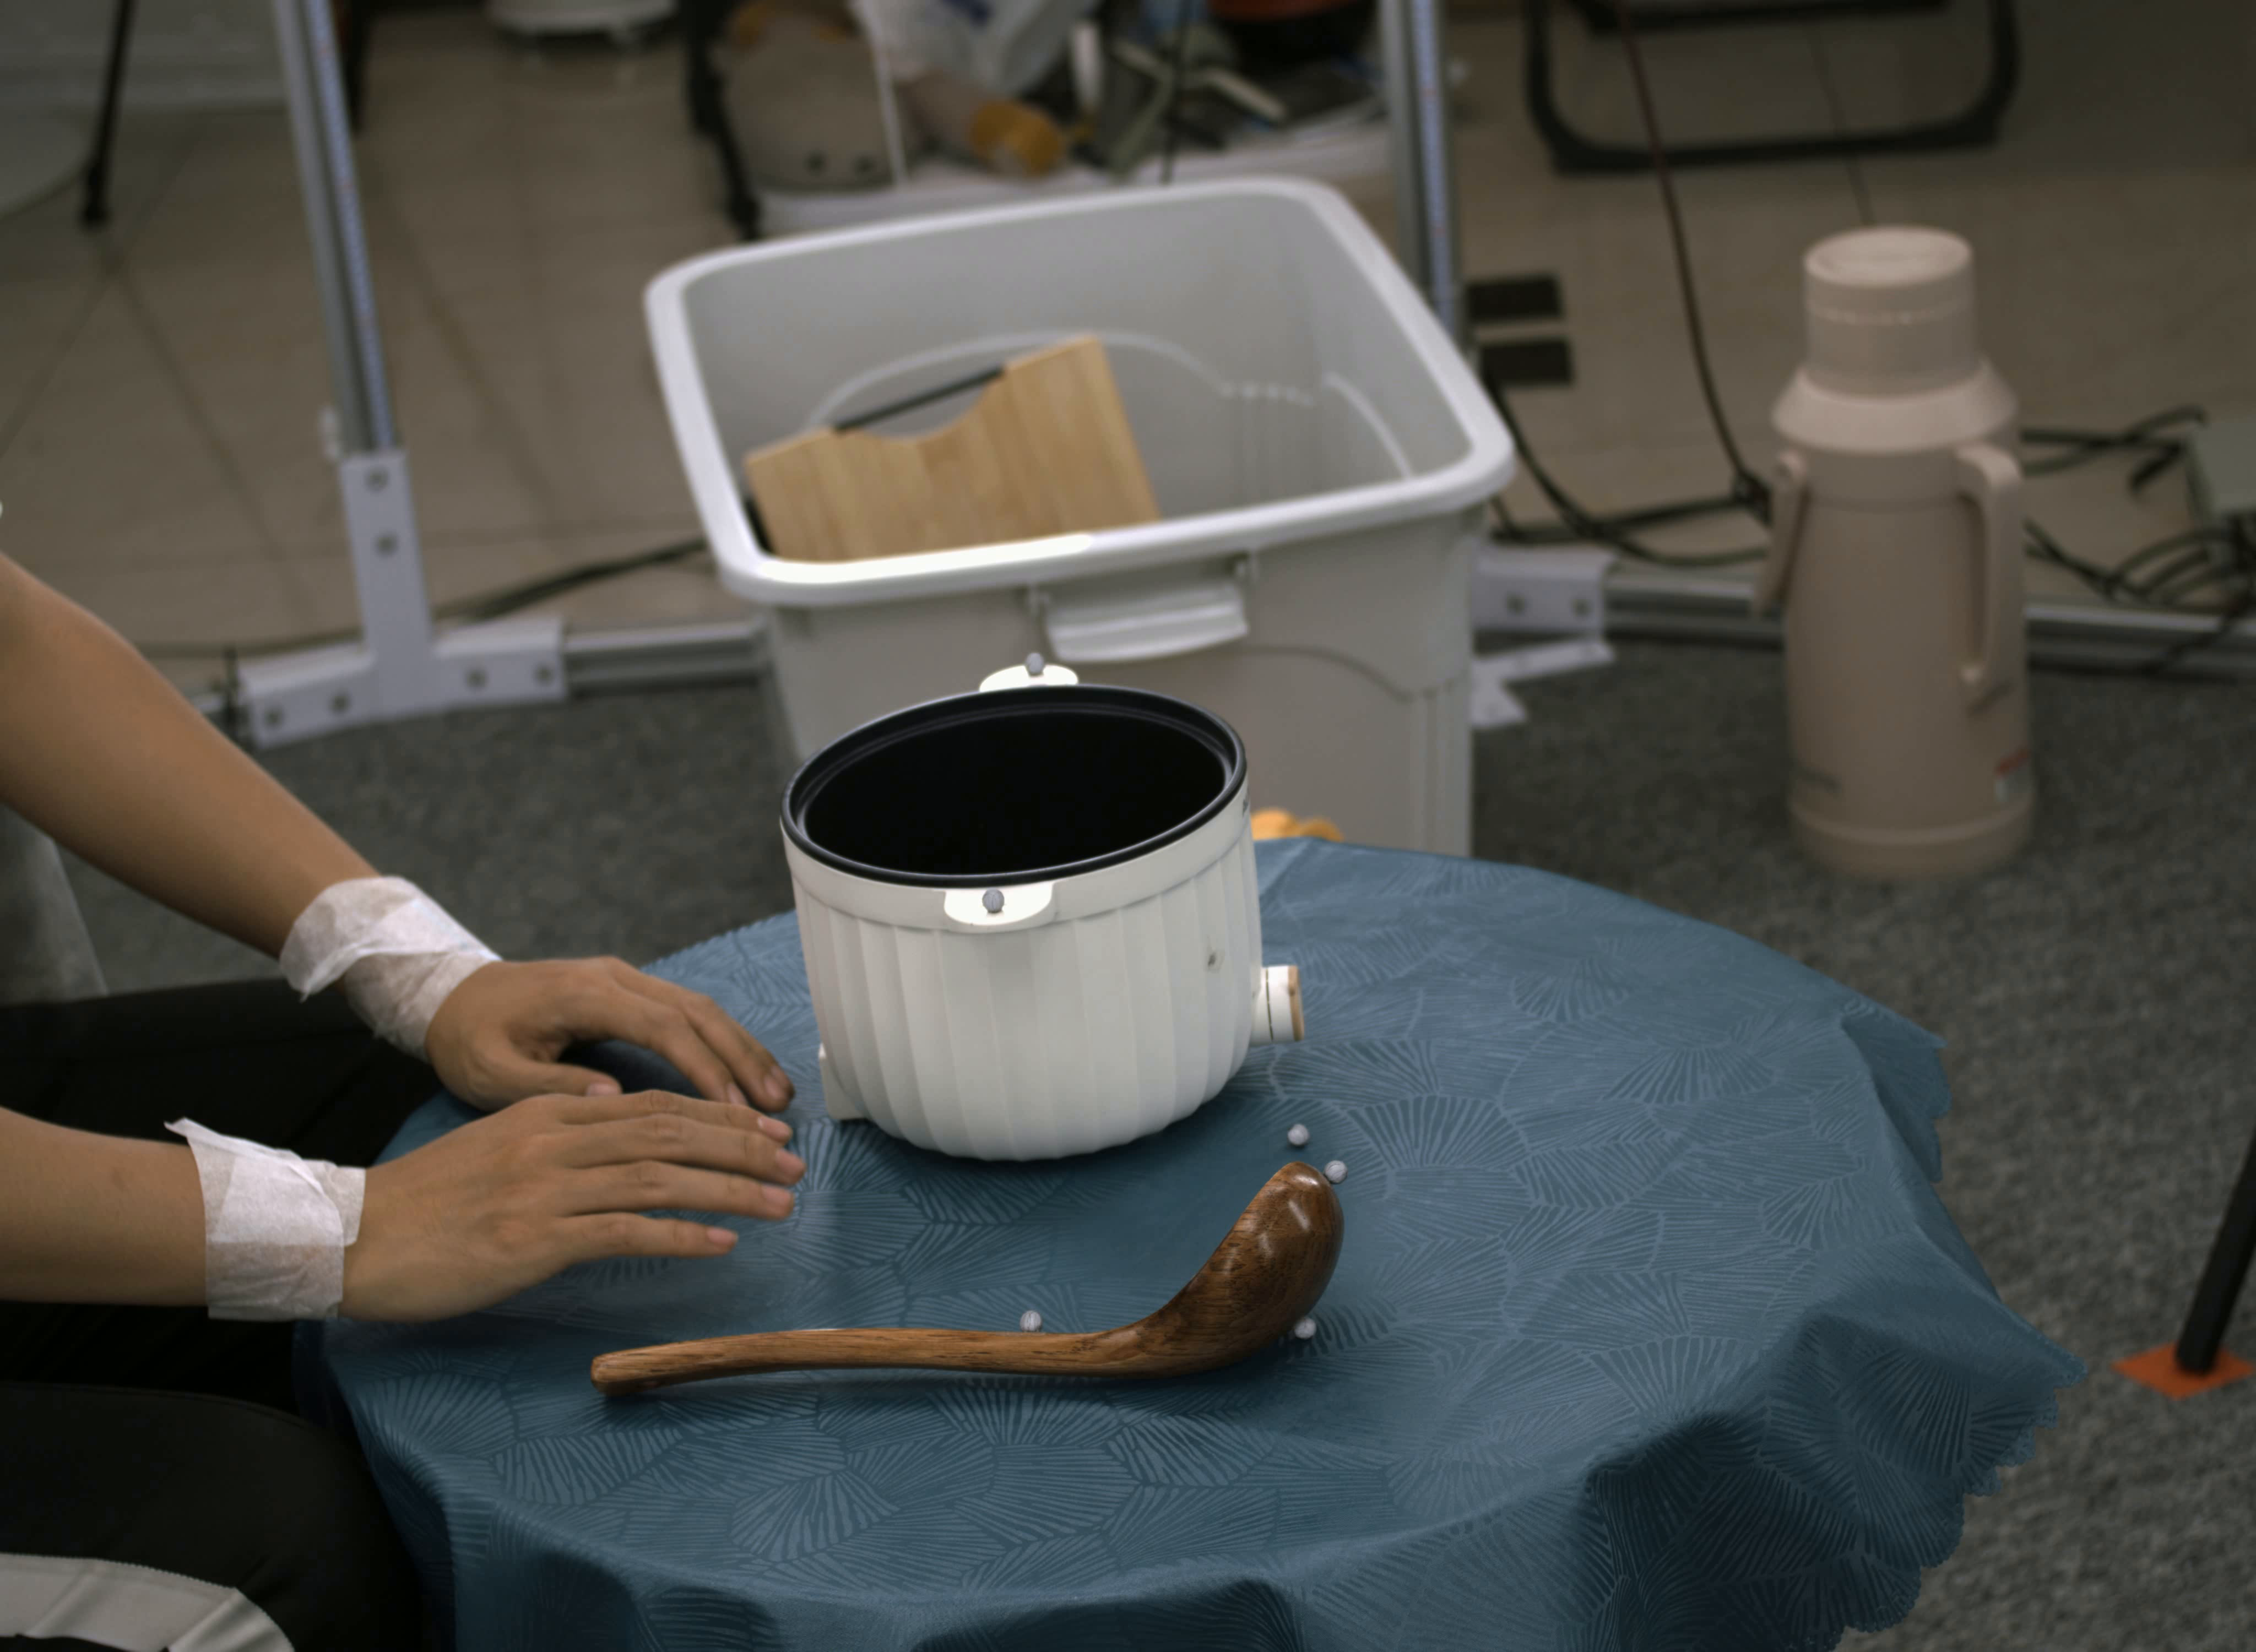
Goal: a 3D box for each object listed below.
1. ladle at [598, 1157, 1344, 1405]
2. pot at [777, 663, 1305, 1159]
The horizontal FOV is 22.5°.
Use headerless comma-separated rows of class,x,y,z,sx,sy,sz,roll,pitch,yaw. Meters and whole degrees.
ladle,-0.058,0.163,2.036,0.273,0.083,0.076,-3,70,12
pot,-0.032,0.040,2.205,0.190,0.145,0.237,-8,26,6
